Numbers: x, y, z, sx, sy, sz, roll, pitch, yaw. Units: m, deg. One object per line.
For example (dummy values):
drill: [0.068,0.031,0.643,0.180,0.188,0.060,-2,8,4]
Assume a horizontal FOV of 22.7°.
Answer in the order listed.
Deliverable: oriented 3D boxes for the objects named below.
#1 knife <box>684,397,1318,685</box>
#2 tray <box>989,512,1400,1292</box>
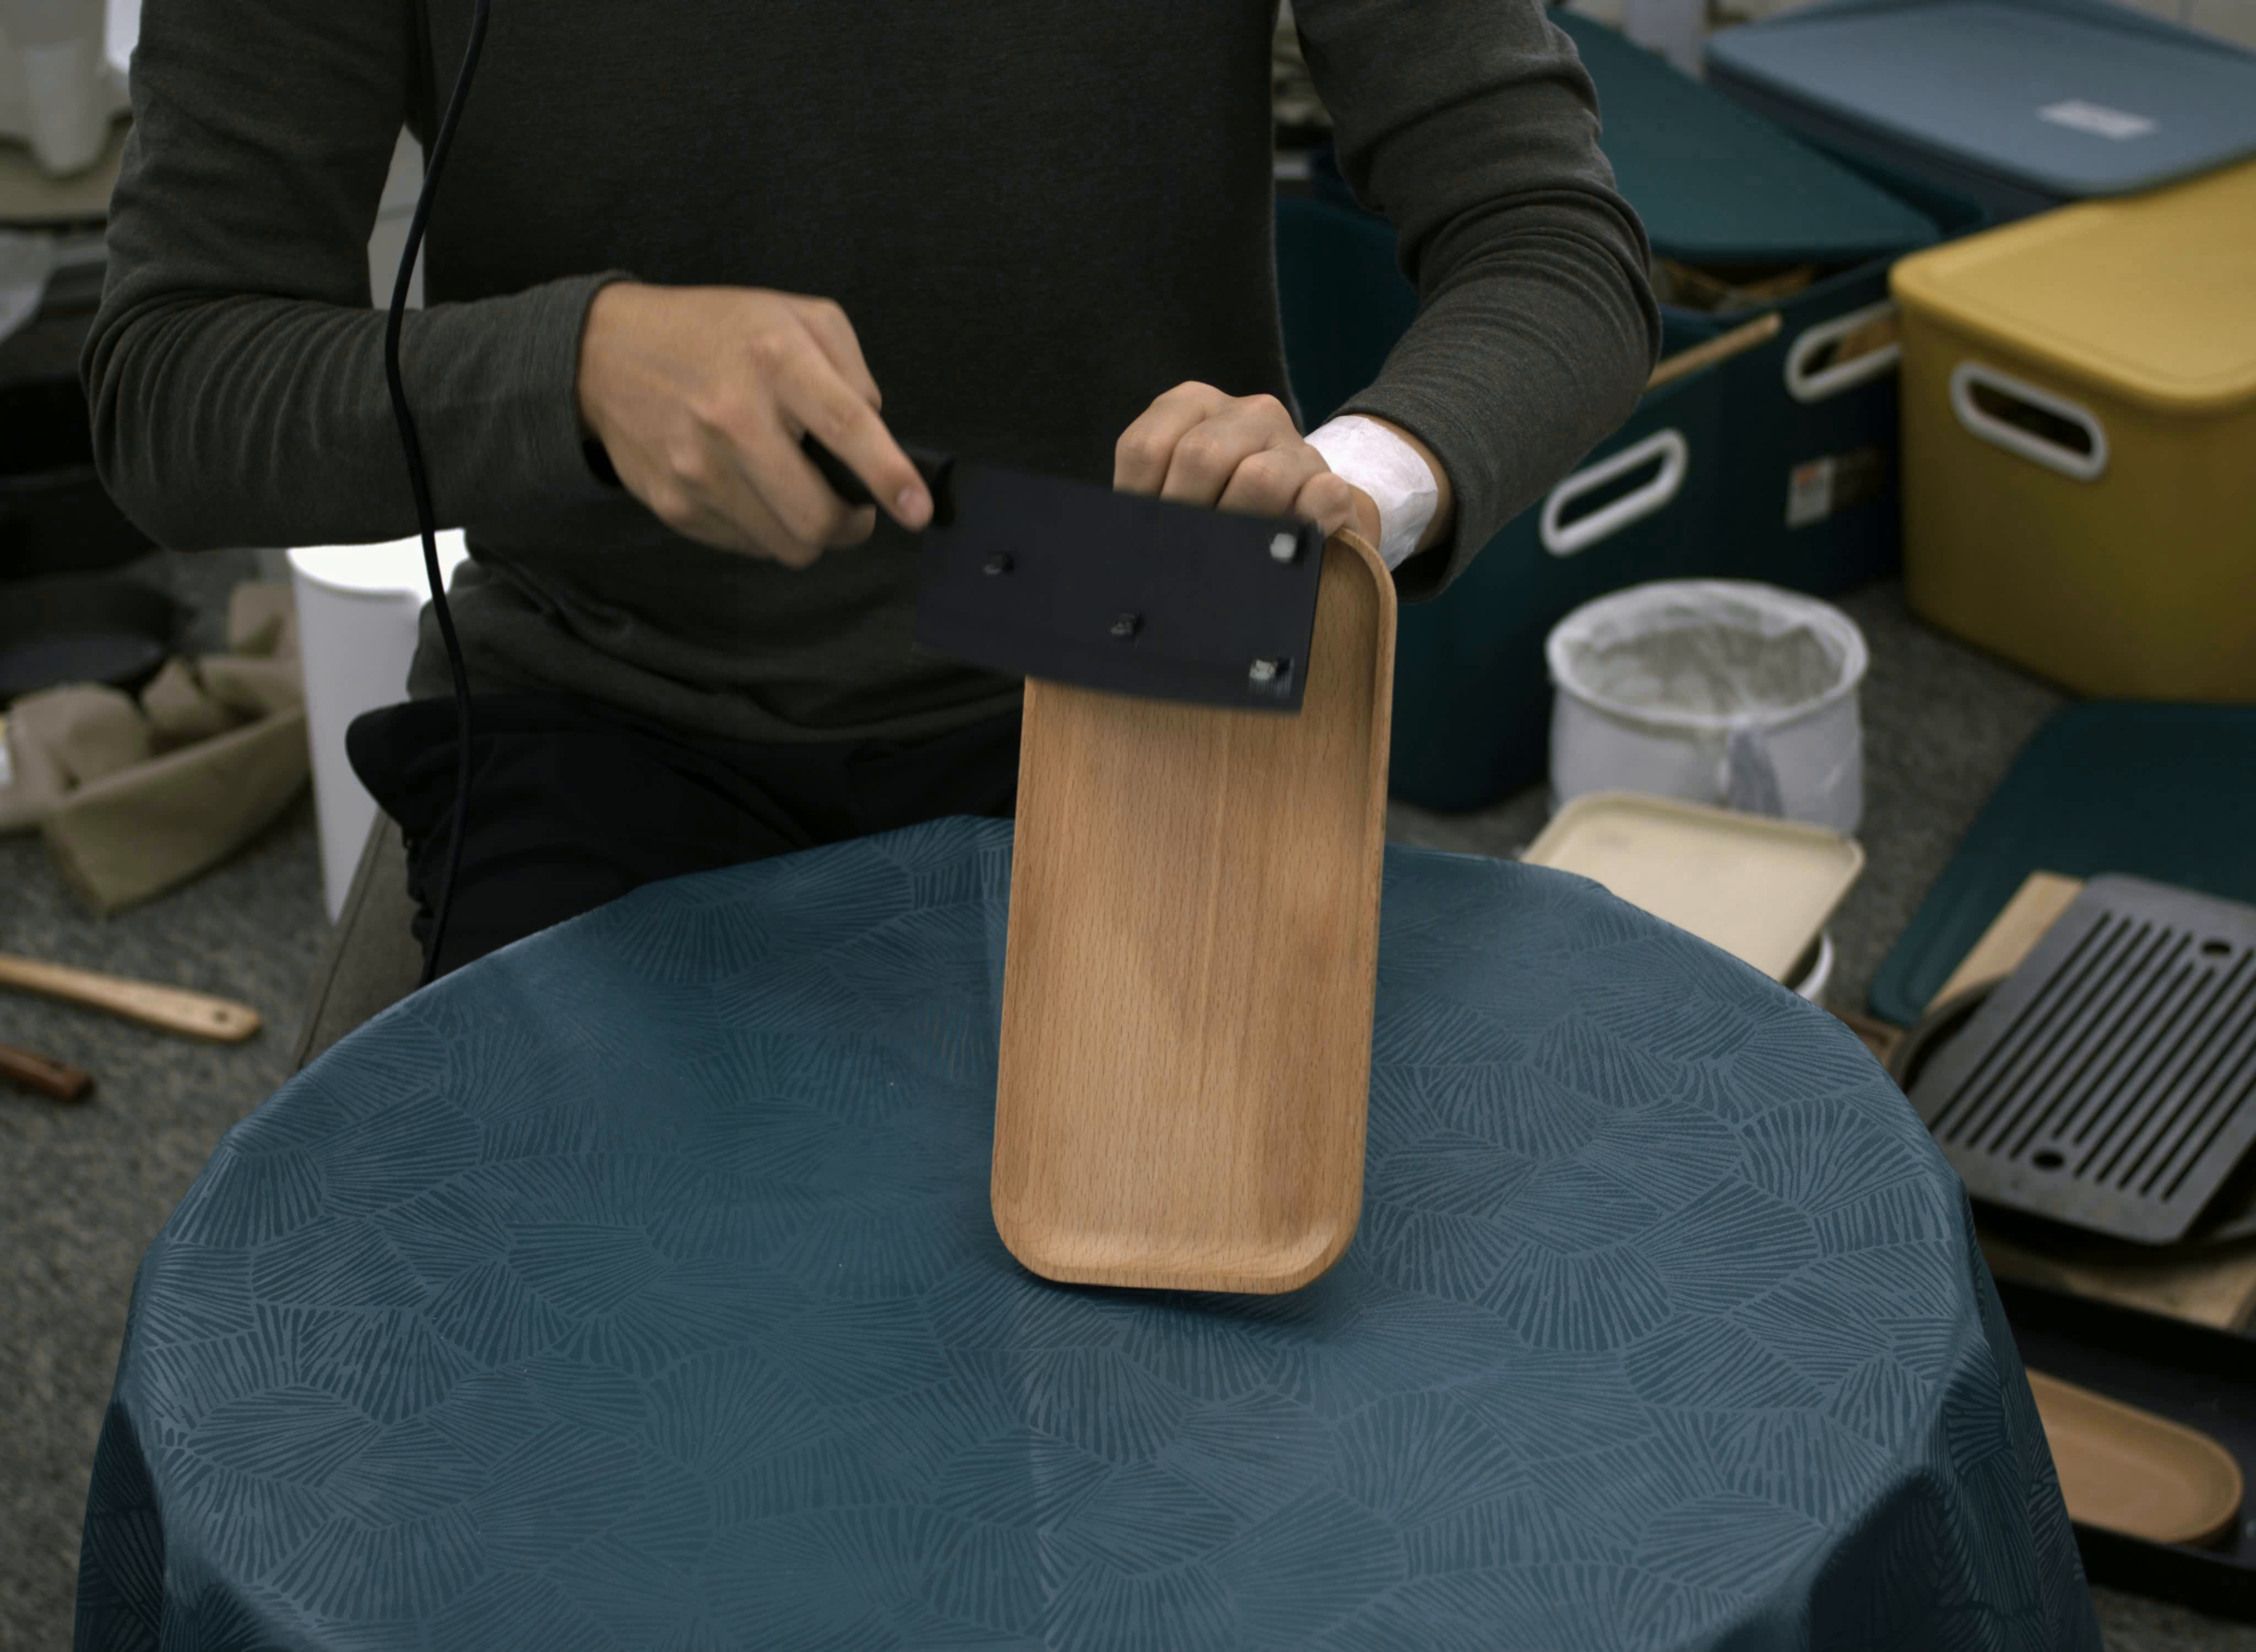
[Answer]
knife: [-0.046,-0.098,1.859,0.021,0.081,0.301,1,12,-45]
tray: [0.022,0.023,1.817,0.129,0.253,0.023,2,-10,20]
